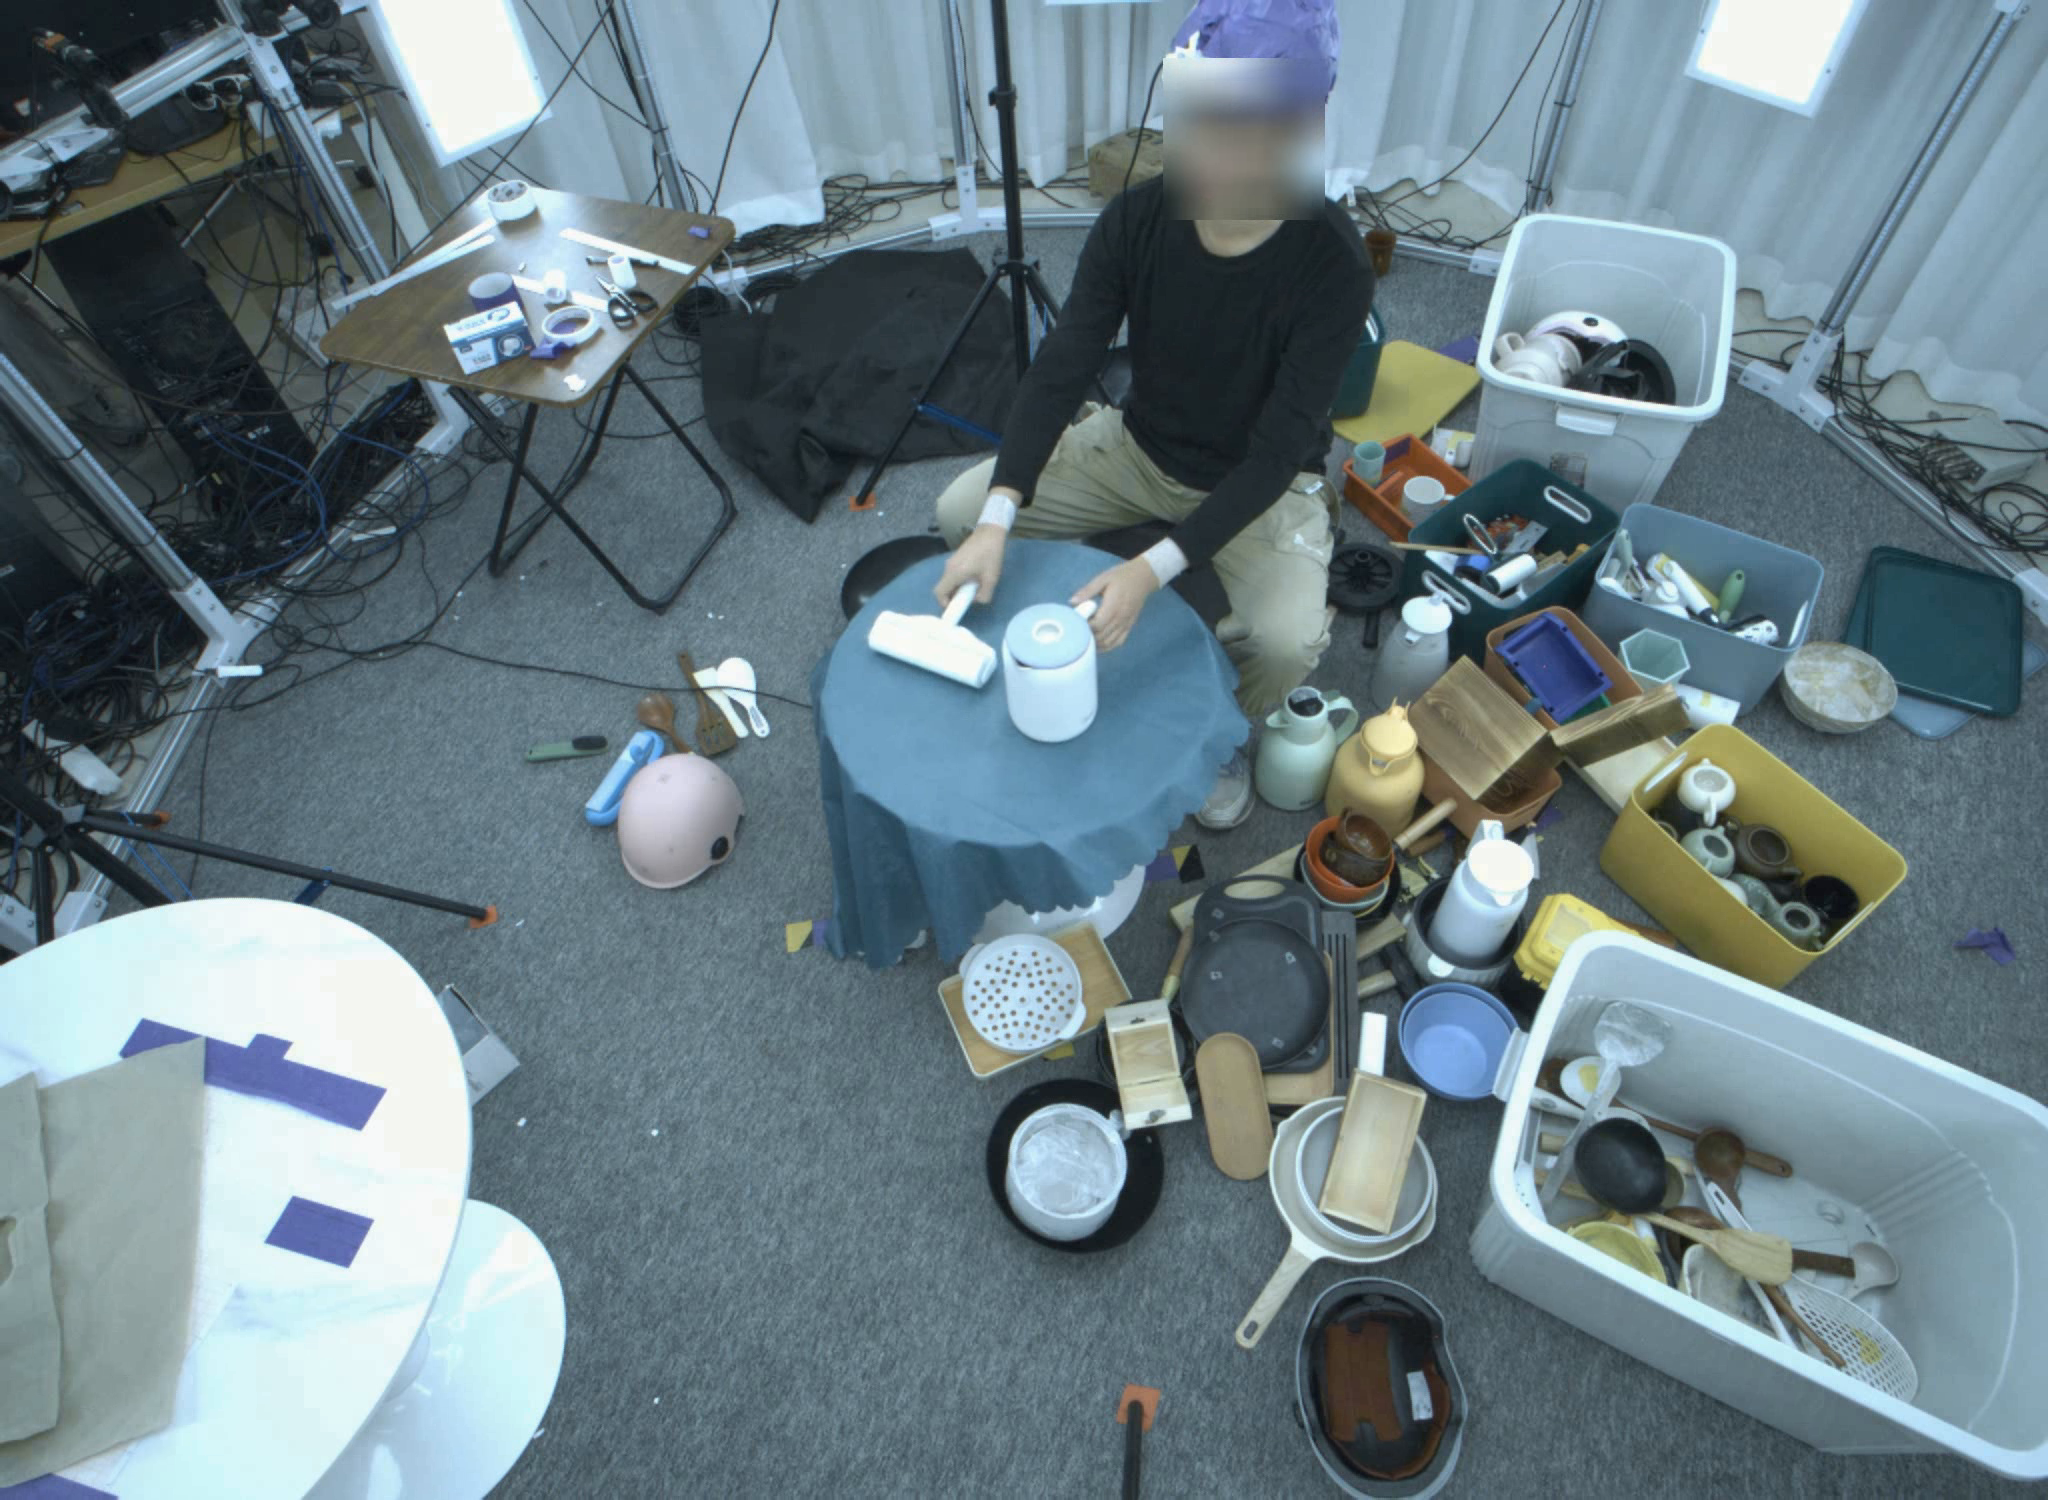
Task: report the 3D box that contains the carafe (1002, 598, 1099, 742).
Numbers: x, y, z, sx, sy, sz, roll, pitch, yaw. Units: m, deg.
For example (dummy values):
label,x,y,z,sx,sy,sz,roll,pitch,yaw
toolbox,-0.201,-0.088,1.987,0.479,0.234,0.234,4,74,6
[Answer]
label,x,y,z,sx,sy,sz,roll,pitch,yaw
carafe,0.052,-0.126,1.769,0.130,0.184,0.192,29,59,21

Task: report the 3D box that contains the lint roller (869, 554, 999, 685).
label,x,y,z,sx,sy,sz,roll,pitch,yaw
lint roller,-0.107,-0.221,1.899,0.200,0.049,0.225,20,68,16
